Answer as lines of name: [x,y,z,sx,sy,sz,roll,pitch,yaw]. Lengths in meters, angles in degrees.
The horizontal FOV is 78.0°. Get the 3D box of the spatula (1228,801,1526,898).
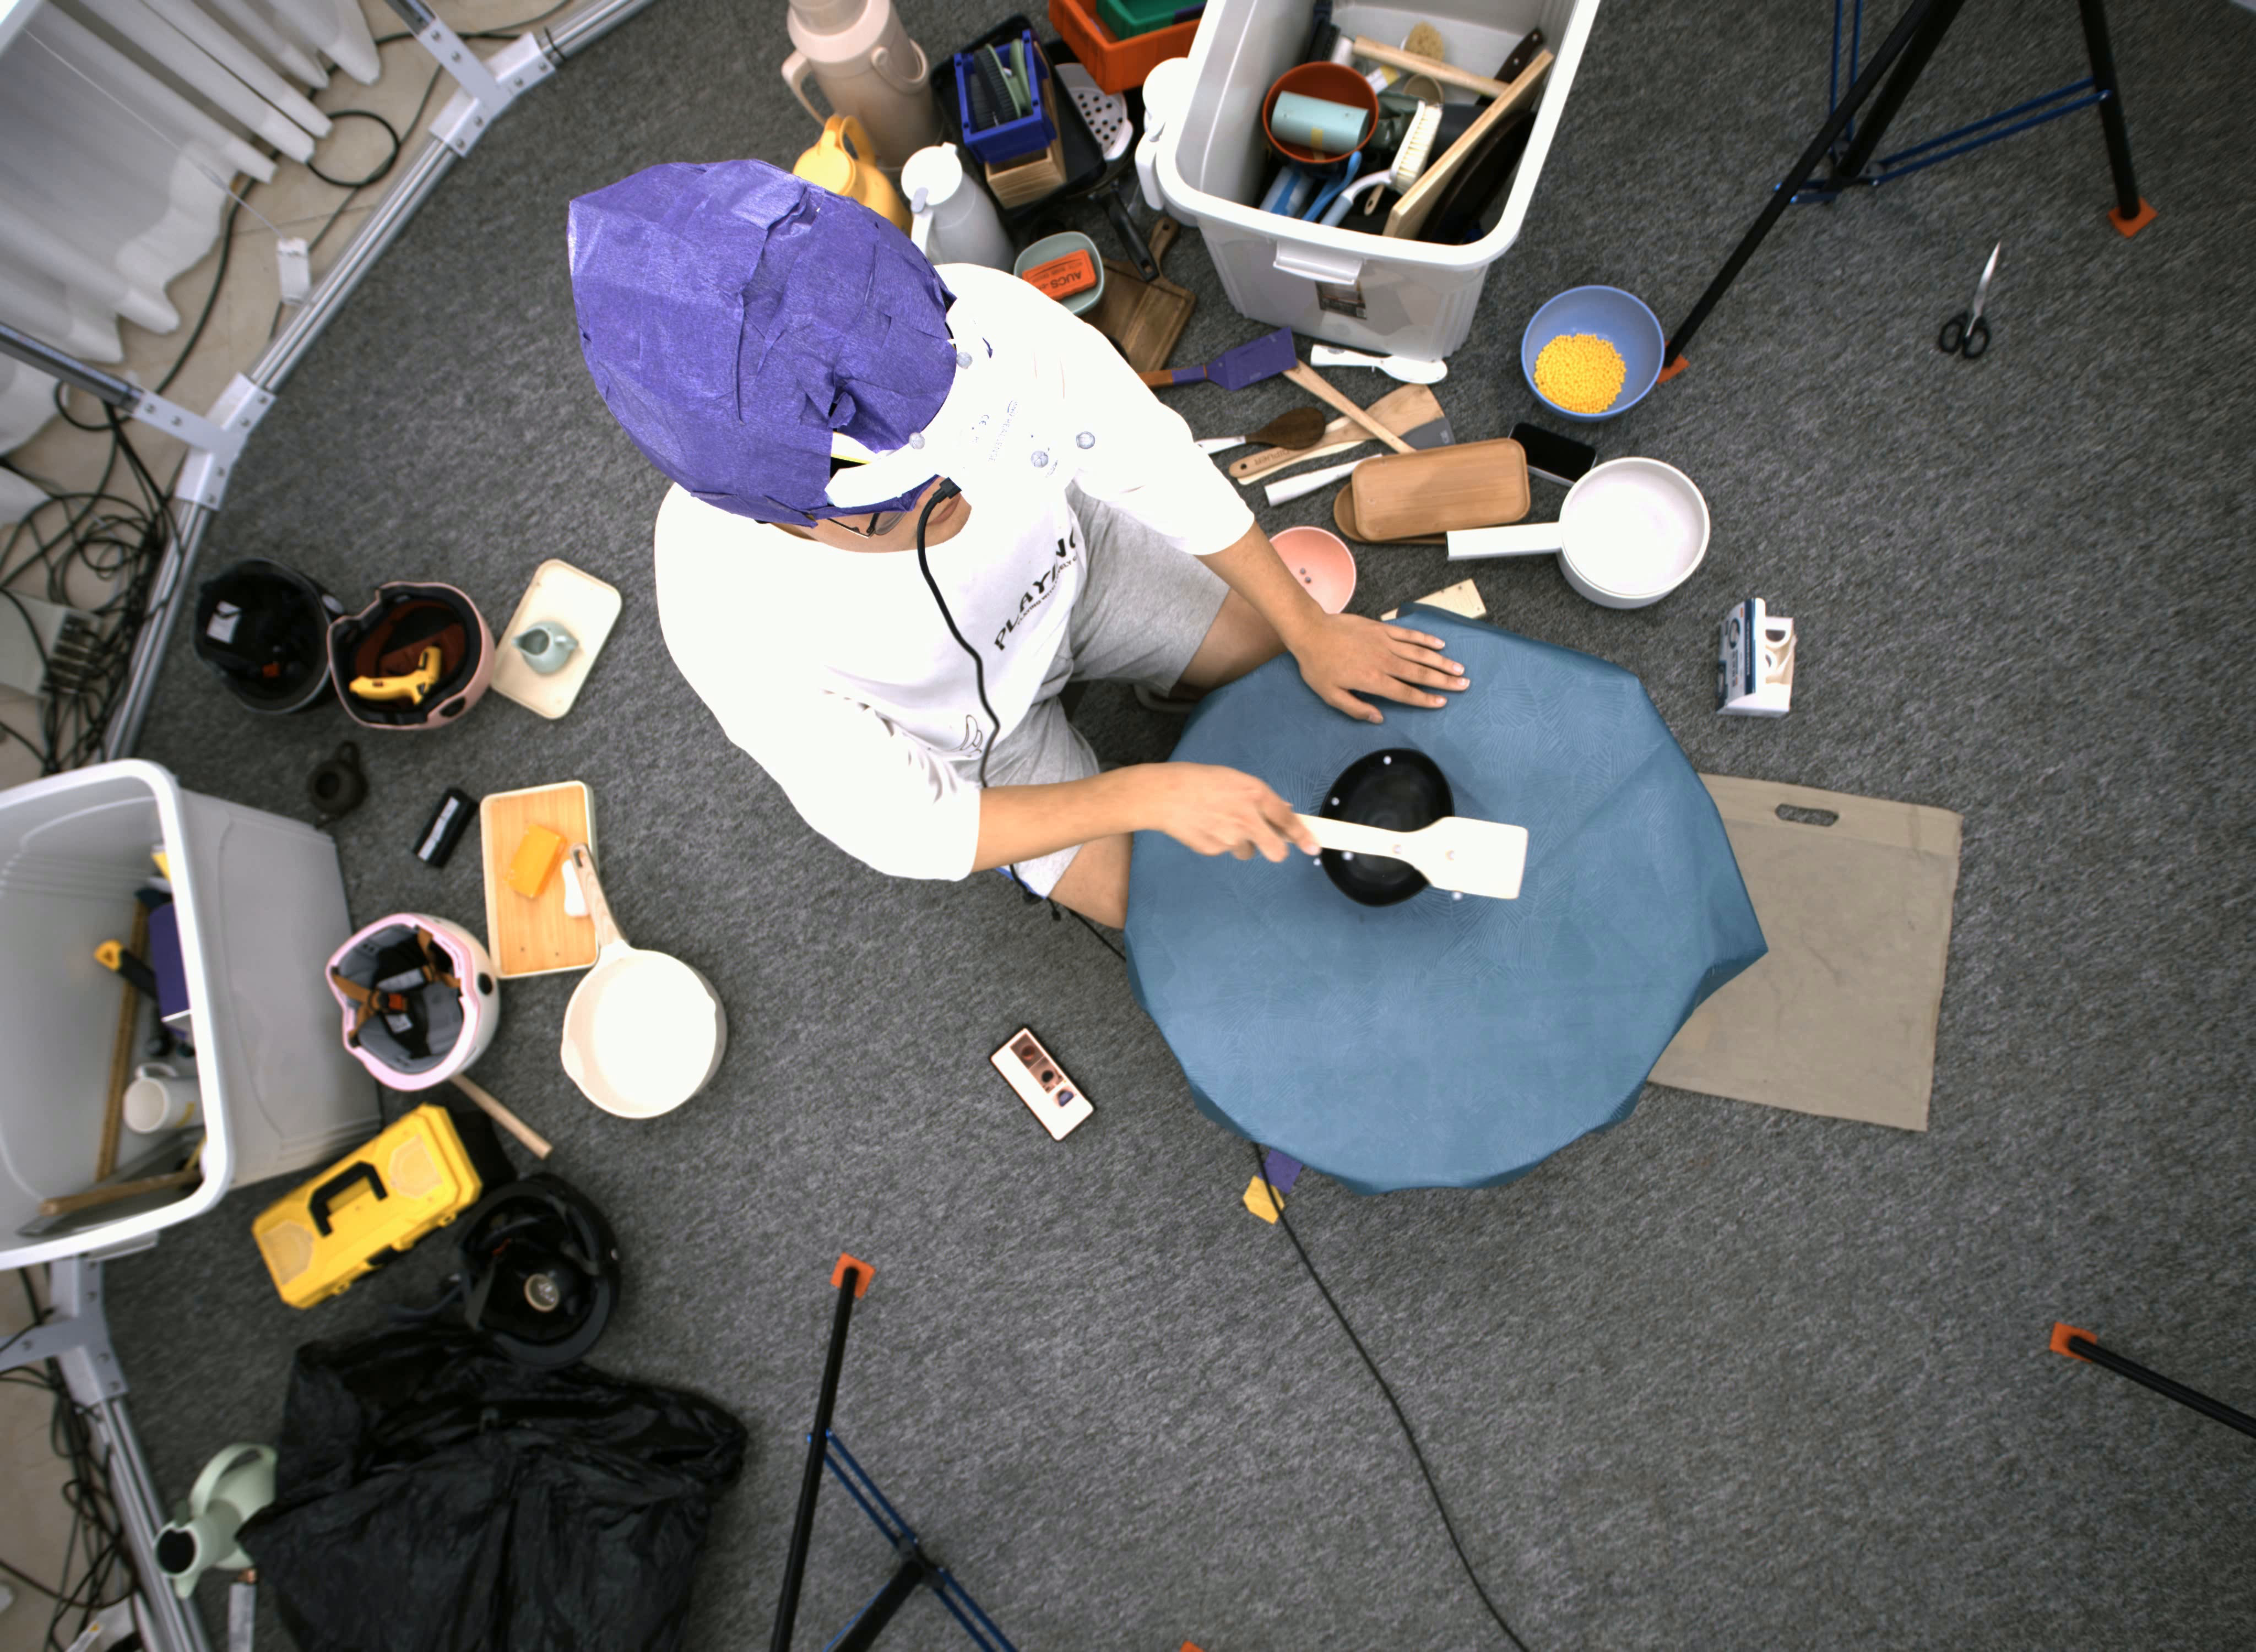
spatula: [0.233,0.012,1.285,0.293,0.010,0.072,8,92,-11]

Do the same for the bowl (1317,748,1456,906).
bowl: [0.268,0.000,1.432,0.137,0.067,0.170,17,88,12]
